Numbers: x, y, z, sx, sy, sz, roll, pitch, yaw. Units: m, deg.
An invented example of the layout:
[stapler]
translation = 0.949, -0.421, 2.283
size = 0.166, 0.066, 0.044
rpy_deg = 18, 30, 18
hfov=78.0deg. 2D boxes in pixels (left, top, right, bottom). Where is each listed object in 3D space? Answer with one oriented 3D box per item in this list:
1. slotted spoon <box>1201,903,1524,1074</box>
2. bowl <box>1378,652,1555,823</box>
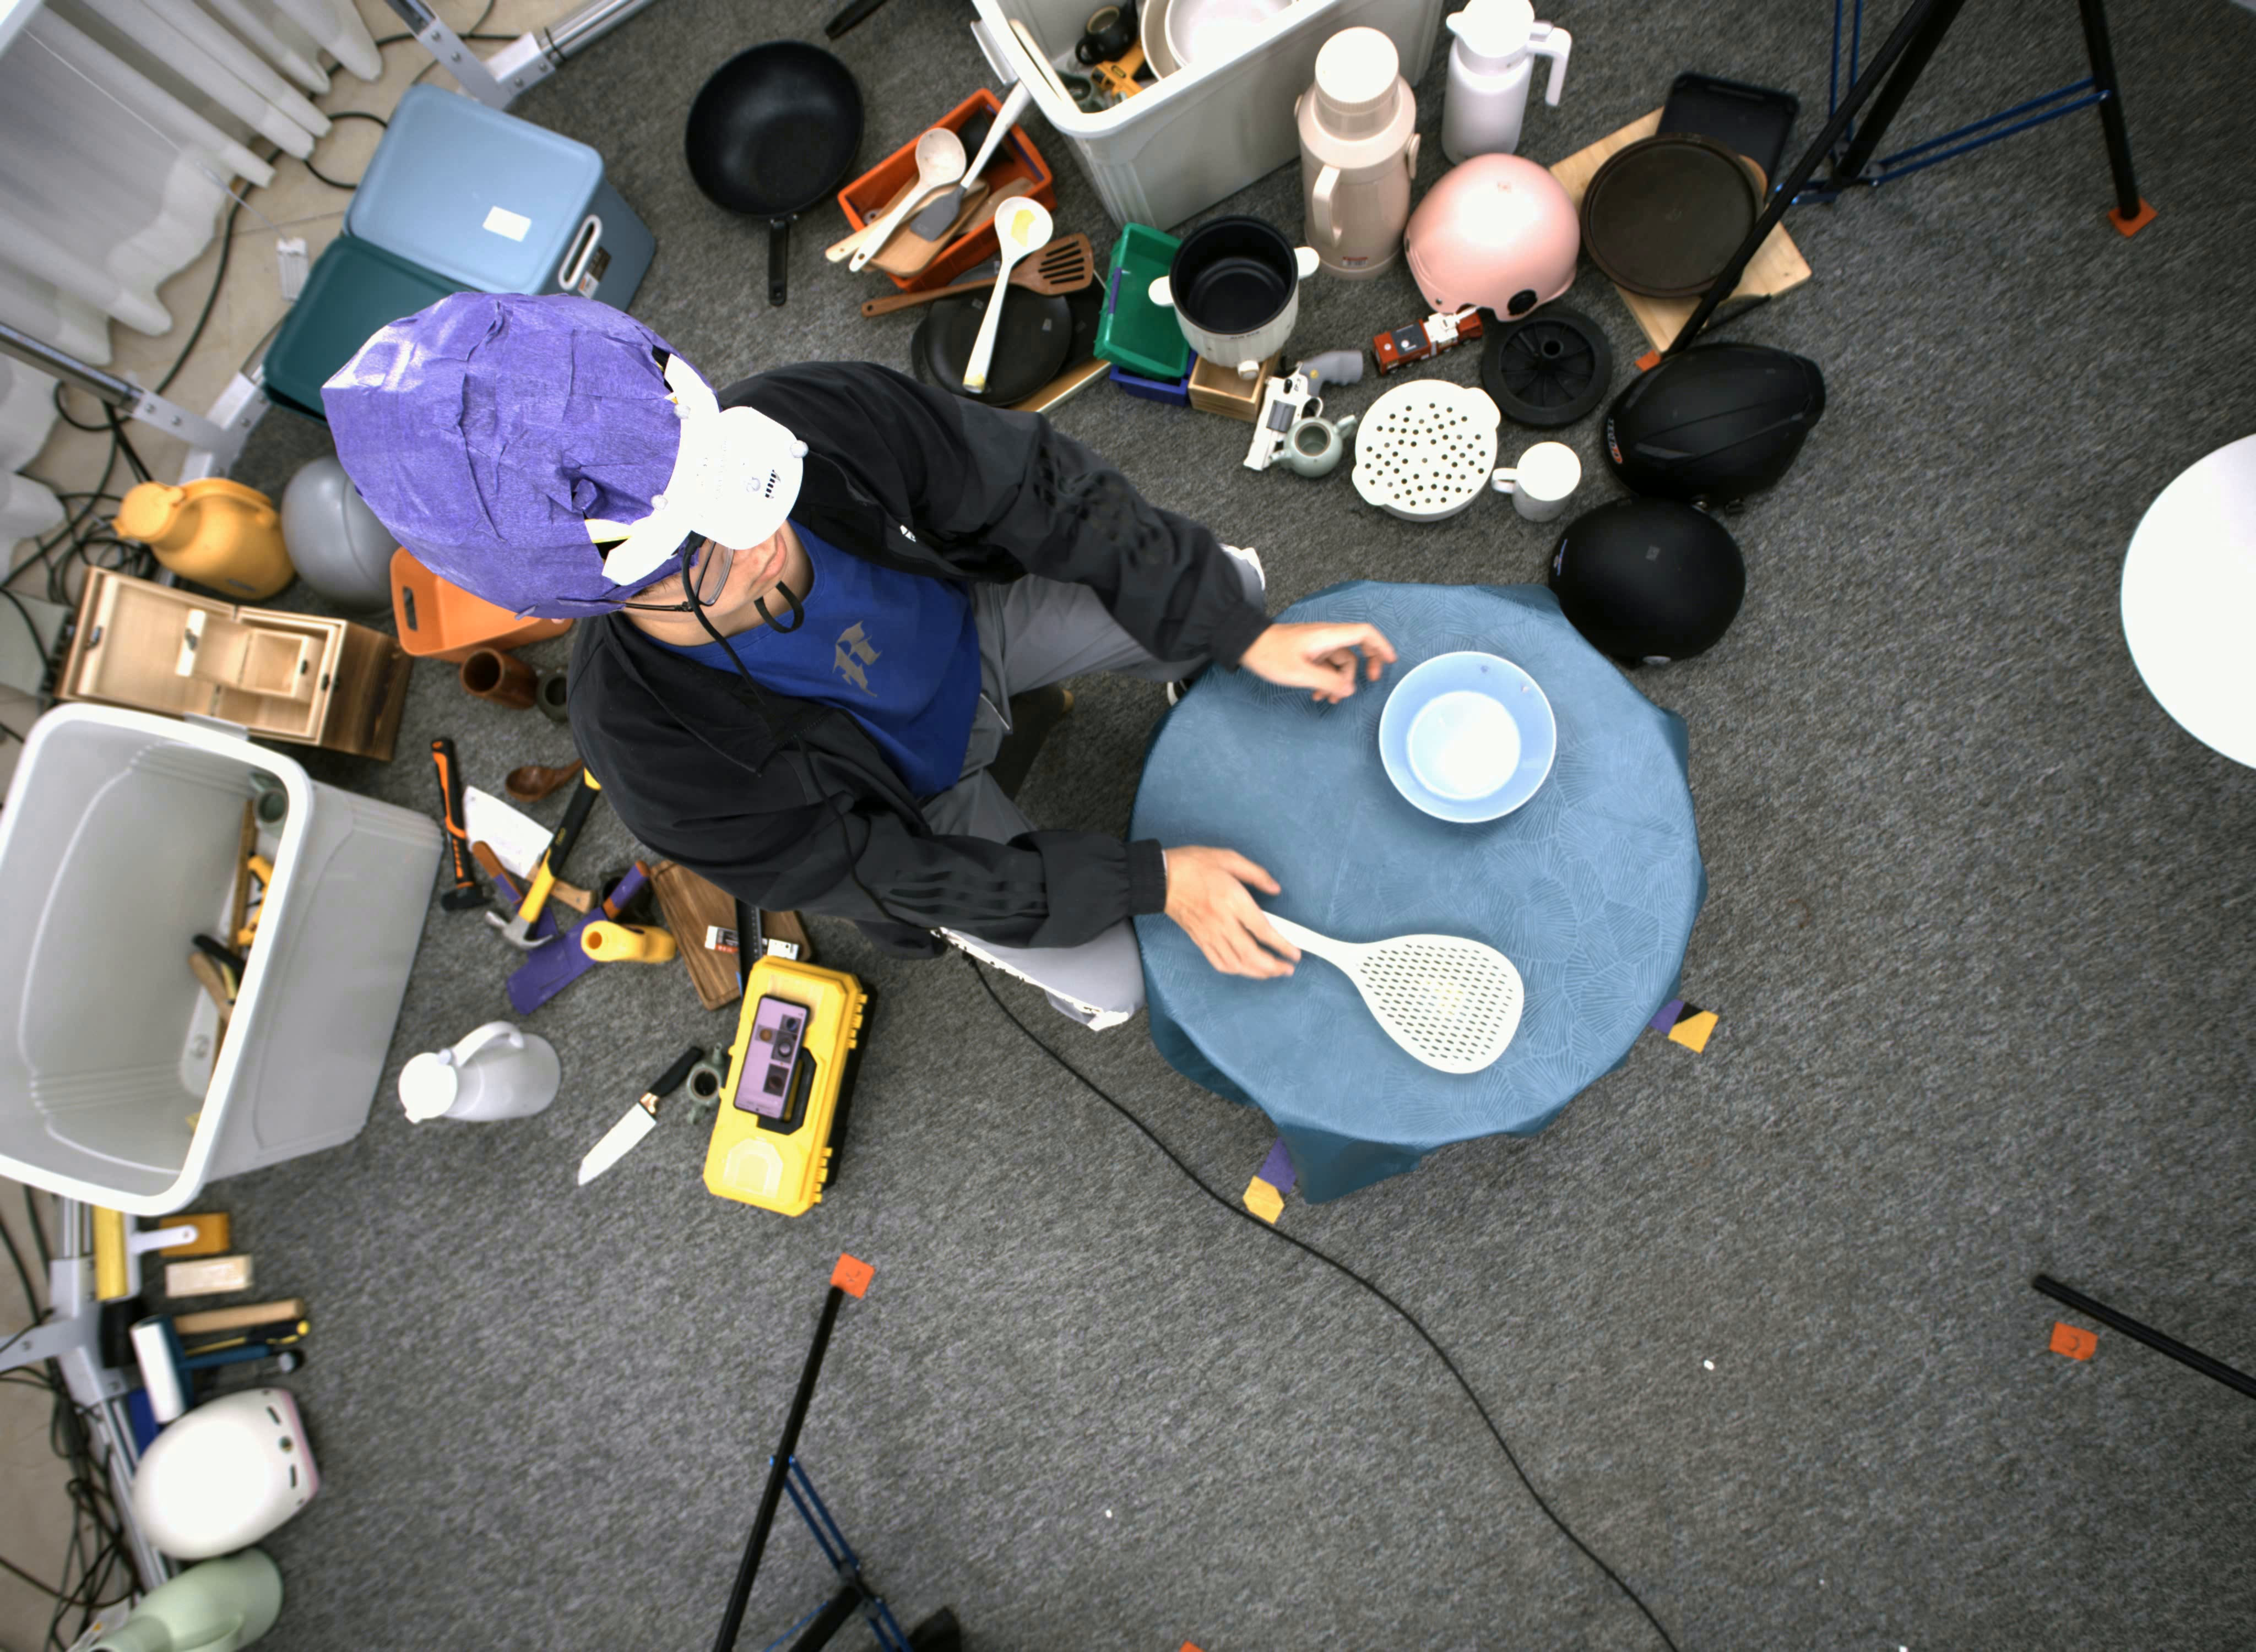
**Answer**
[slotted spoon]
translation = 0.237, 0.140, 1.439
size = 0.348, 0.050, 0.137
rpy_deg = 21, 97, 12
[bowl]
translation = 0.346, -0.088, 1.416
size = 0.177, 0.070, 0.175
rpy_deg = -1, 86, 11
